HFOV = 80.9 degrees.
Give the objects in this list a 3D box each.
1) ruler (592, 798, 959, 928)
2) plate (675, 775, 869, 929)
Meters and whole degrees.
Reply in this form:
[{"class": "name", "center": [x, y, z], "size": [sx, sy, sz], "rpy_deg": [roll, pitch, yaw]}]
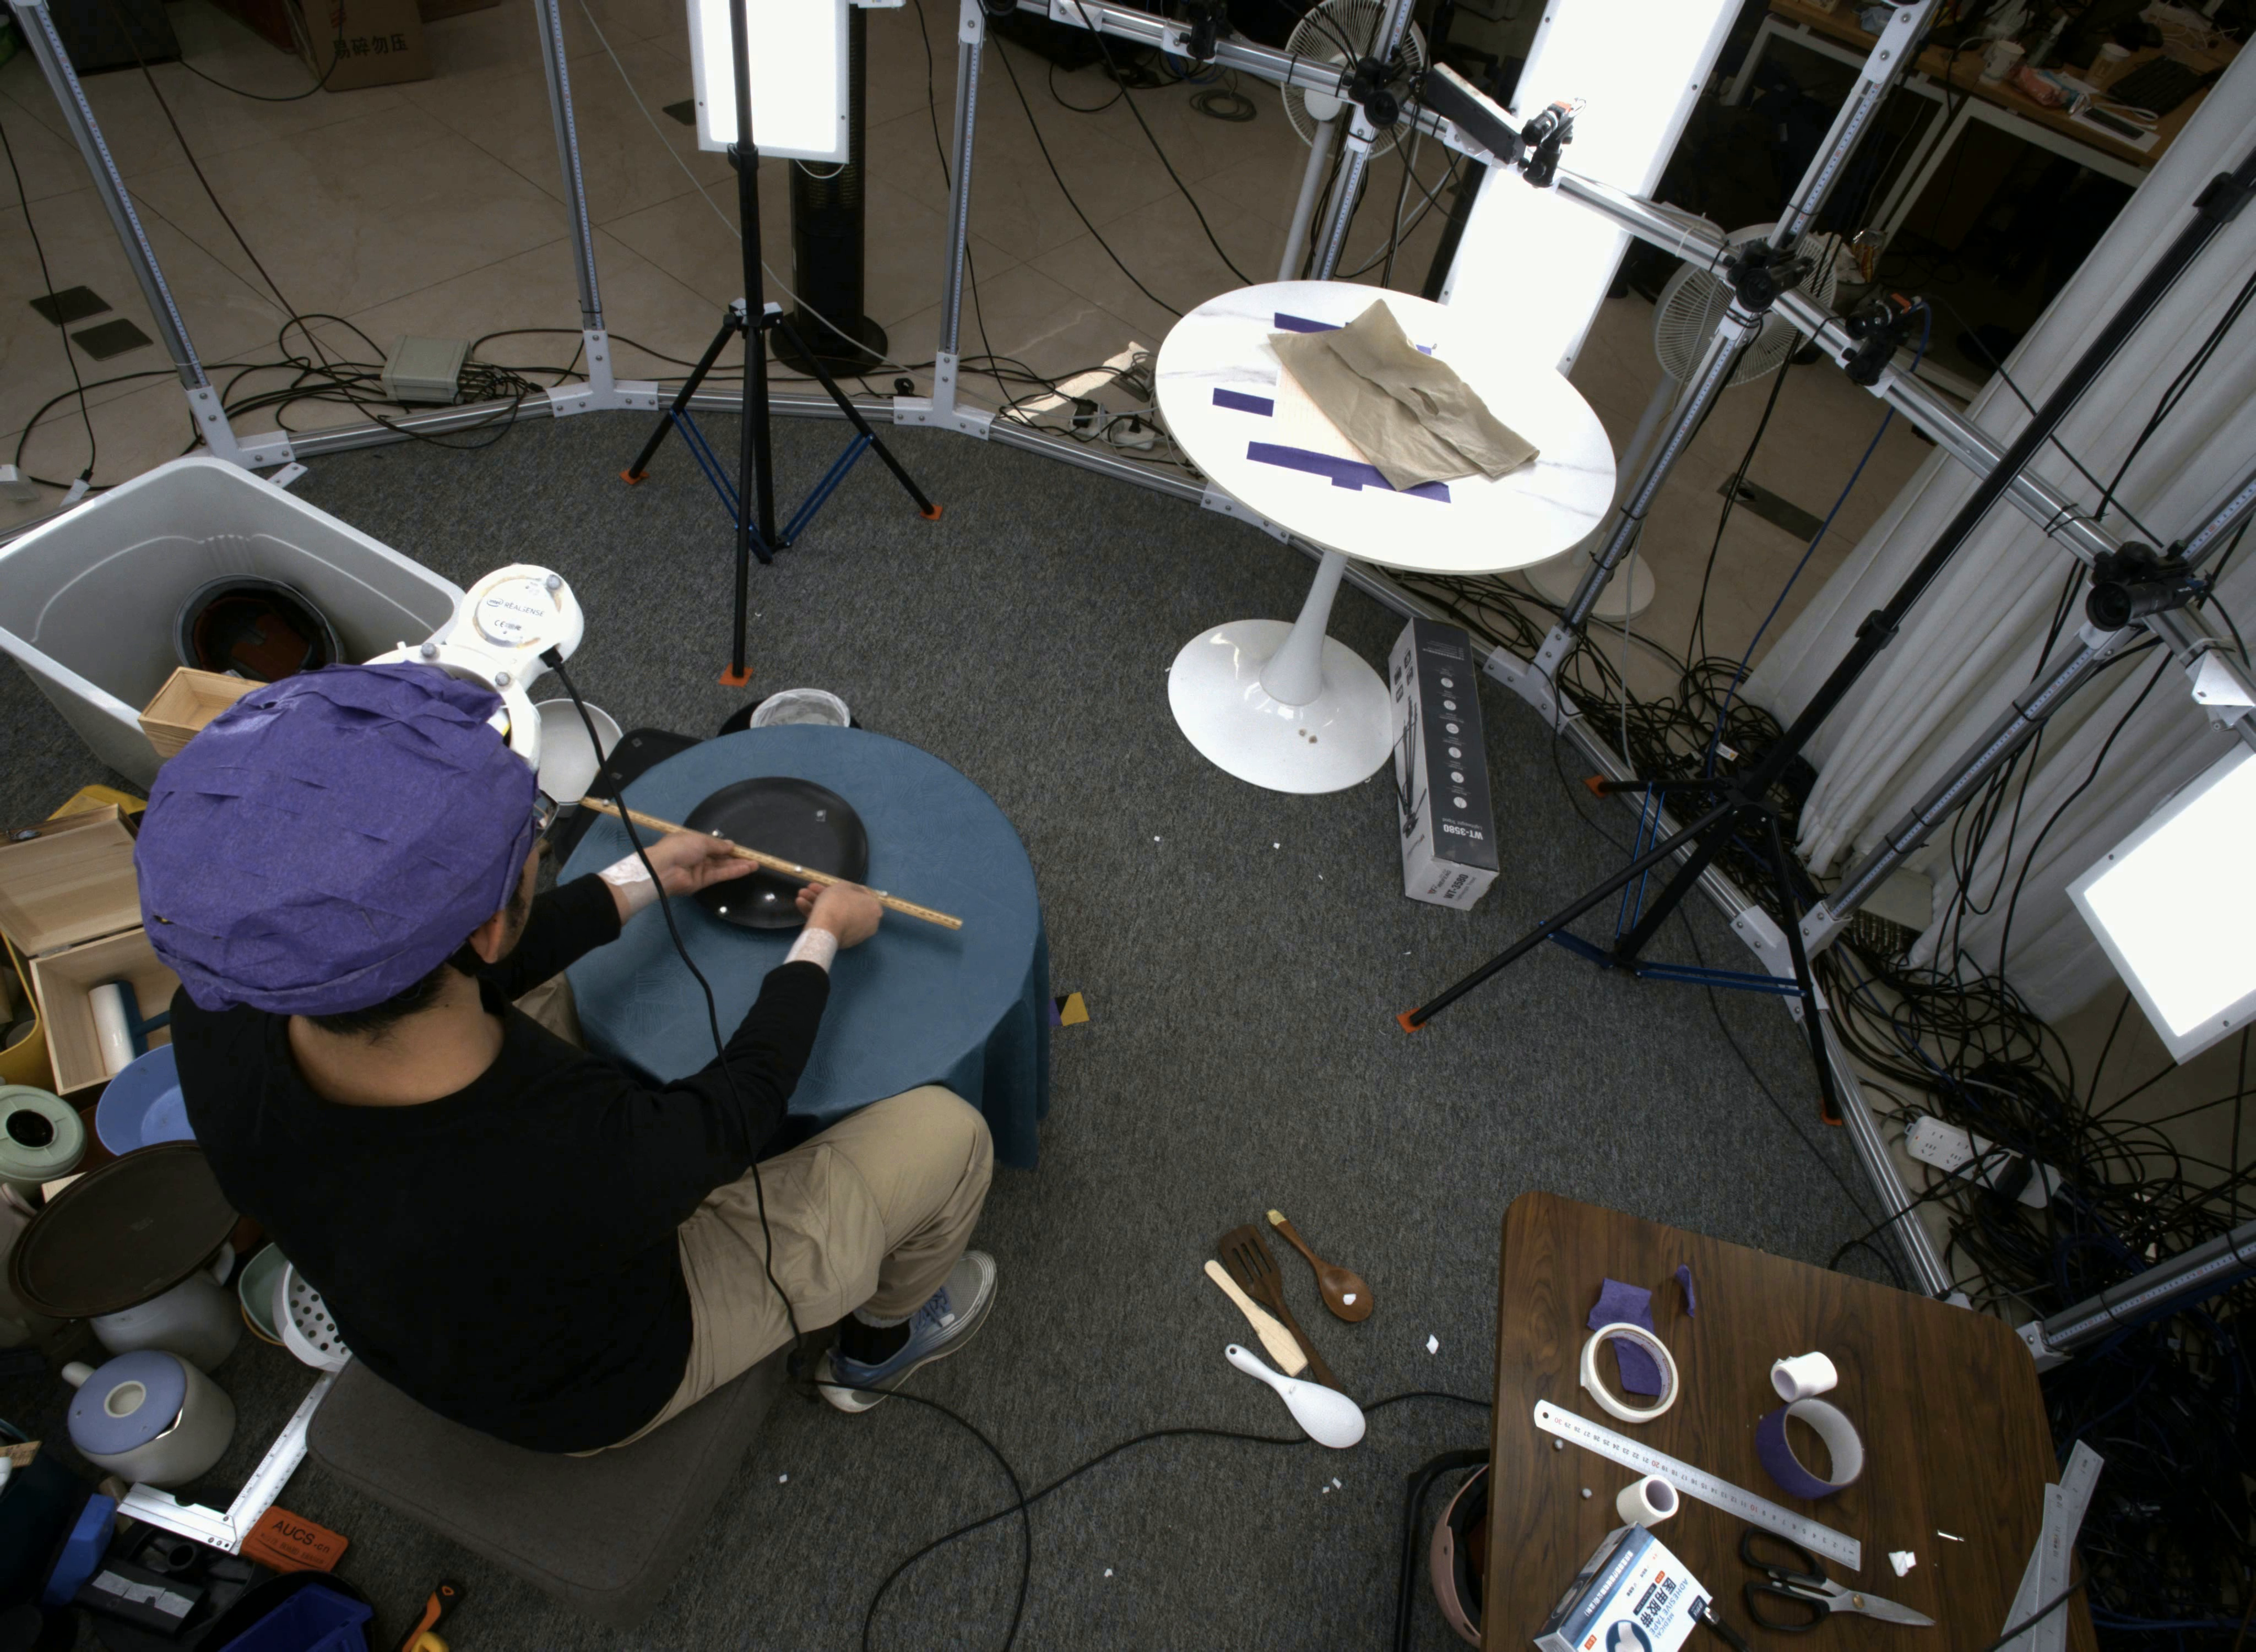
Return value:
[{"class": "ruler", "center": [-0.450, 0.044, 1.631], "size": [0.496, 0.006, 0.026], "rpy_deg": [18, 23, -1]}, {"class": "plate", "center": [-0.457, 0.034, 1.669], "size": [0.244, 0.024, 0.240], "rpy_deg": [8, 52, -9]}]
